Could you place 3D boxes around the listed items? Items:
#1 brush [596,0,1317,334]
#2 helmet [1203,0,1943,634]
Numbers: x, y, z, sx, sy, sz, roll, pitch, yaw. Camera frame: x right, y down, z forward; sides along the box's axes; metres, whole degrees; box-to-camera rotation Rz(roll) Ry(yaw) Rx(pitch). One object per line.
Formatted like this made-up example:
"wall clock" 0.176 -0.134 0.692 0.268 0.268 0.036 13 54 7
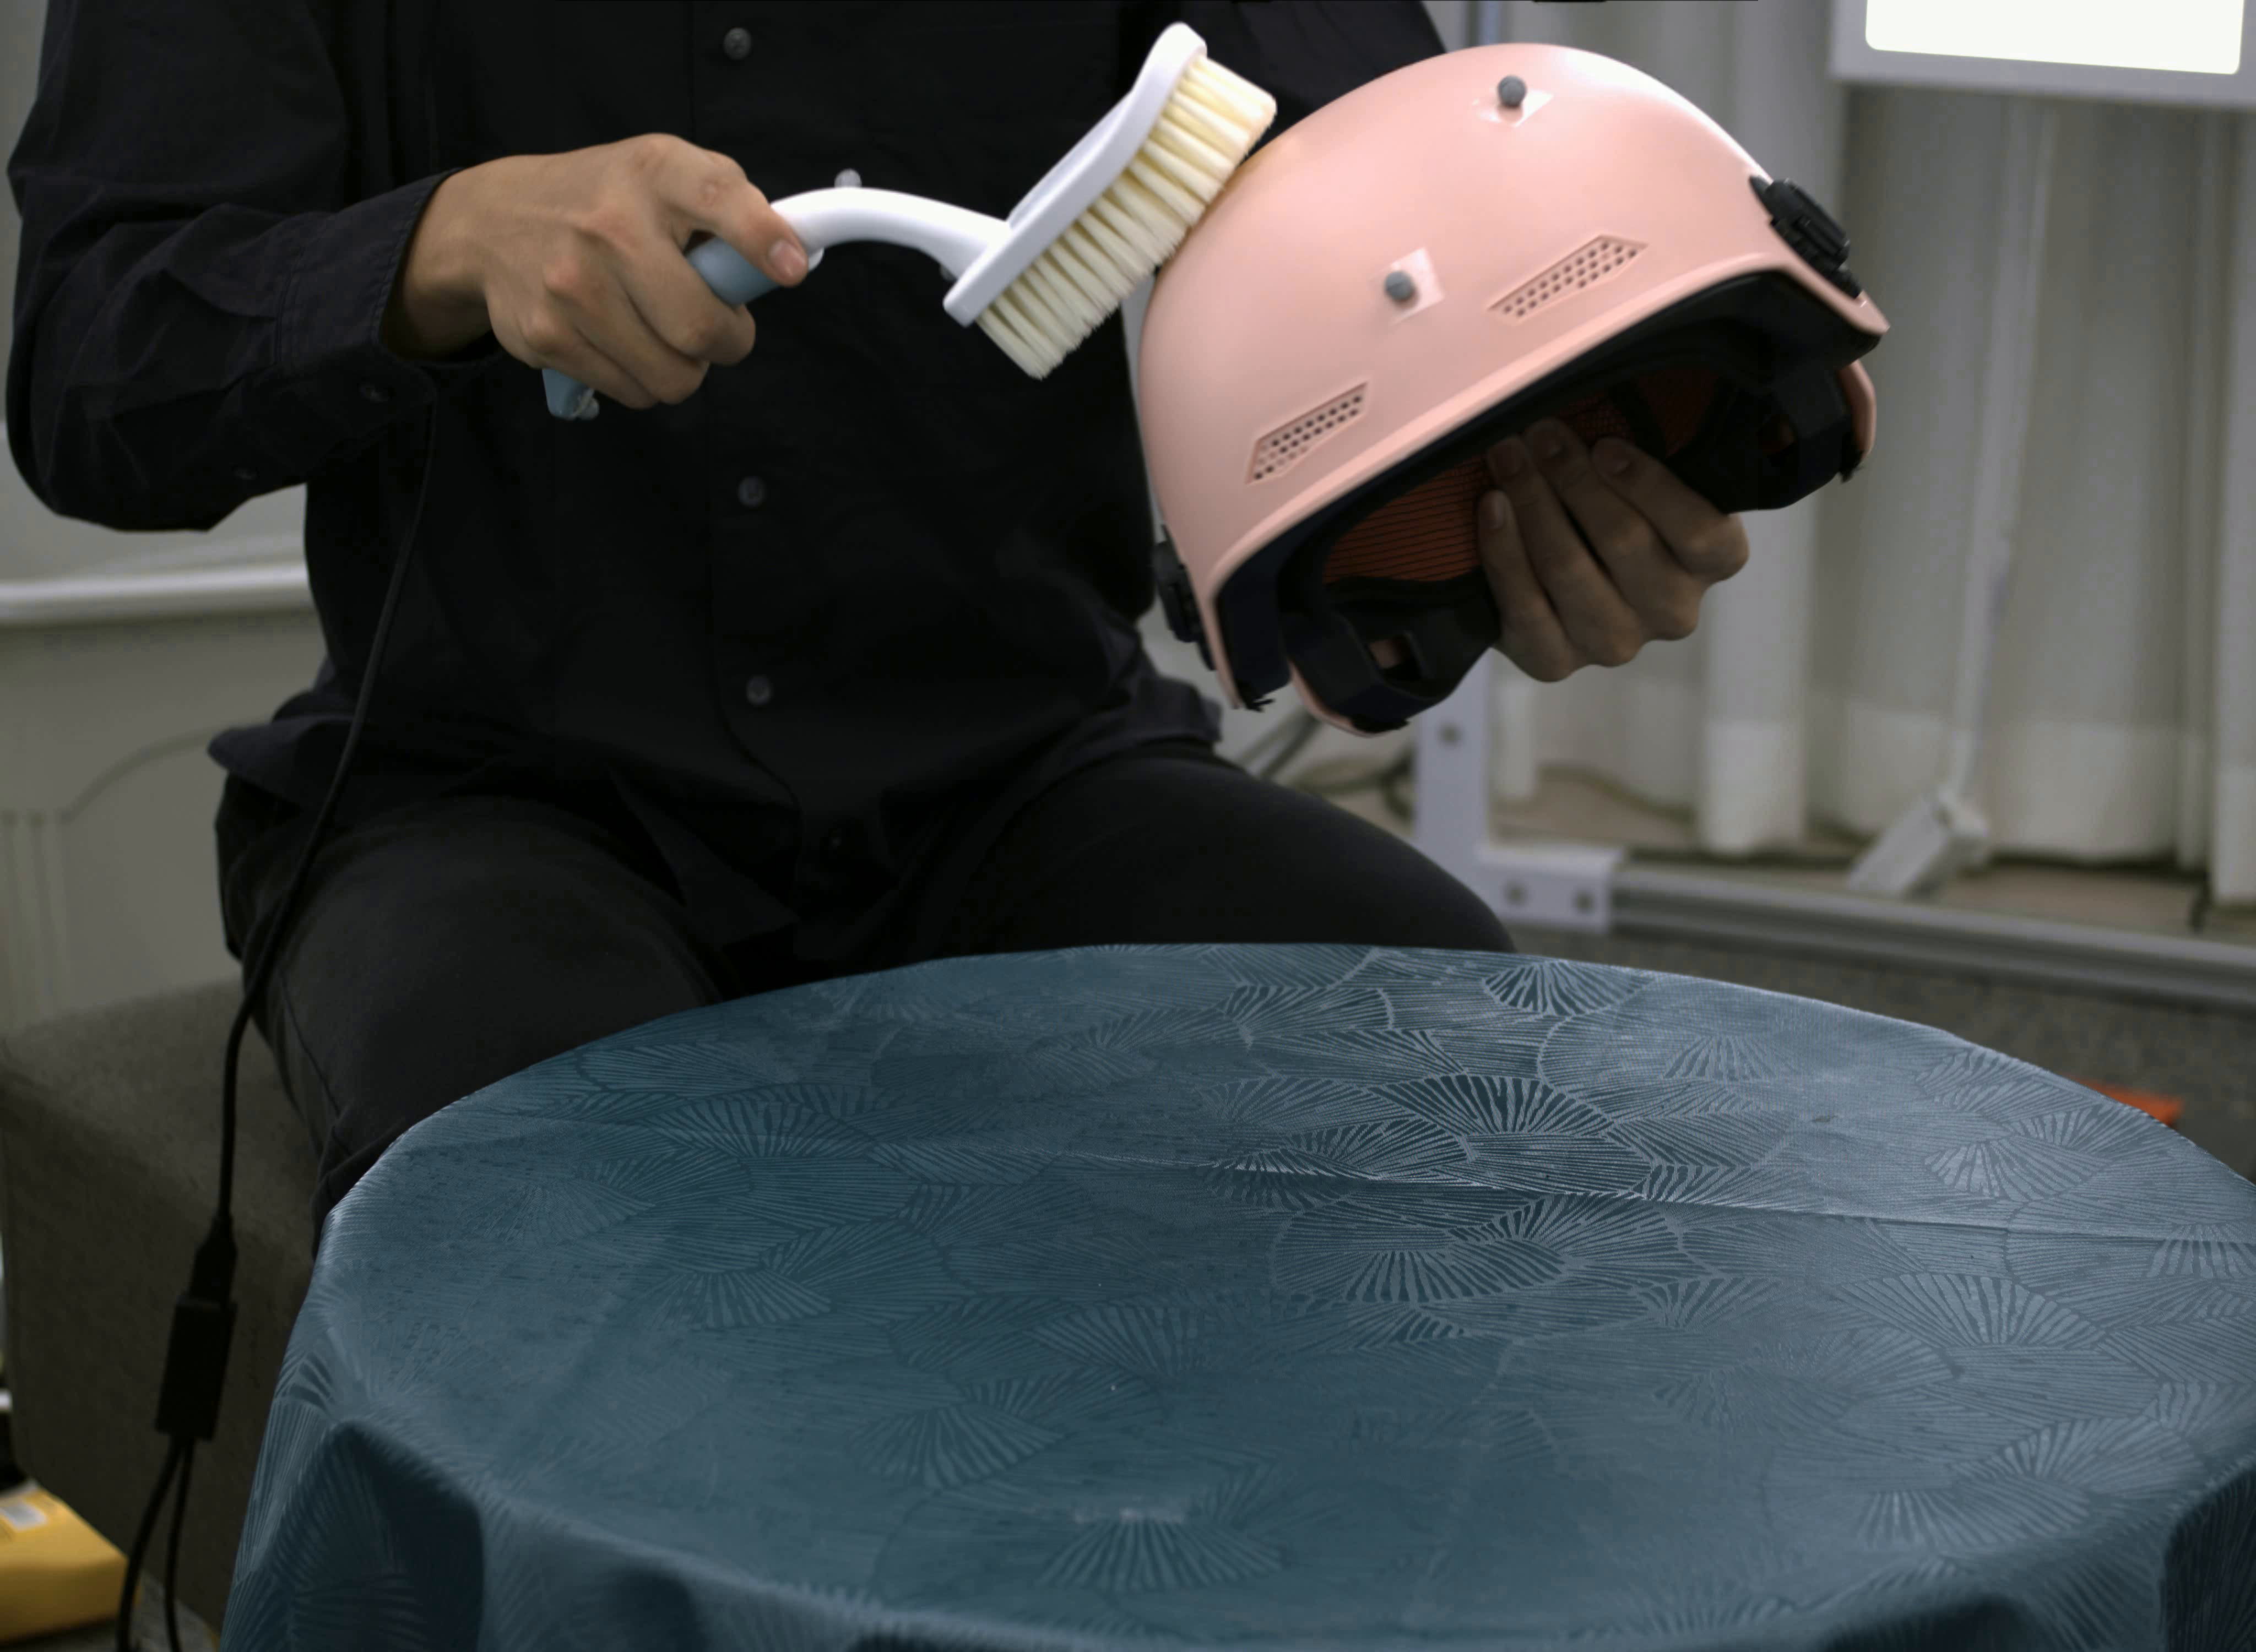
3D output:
"brush" -0.049 -0.199 1.704 0.083 0.084 0.323 -11 -7 -45
"helmet" 0.118 -0.183 1.627 0.233 0.158 0.267 -30 -12 8
